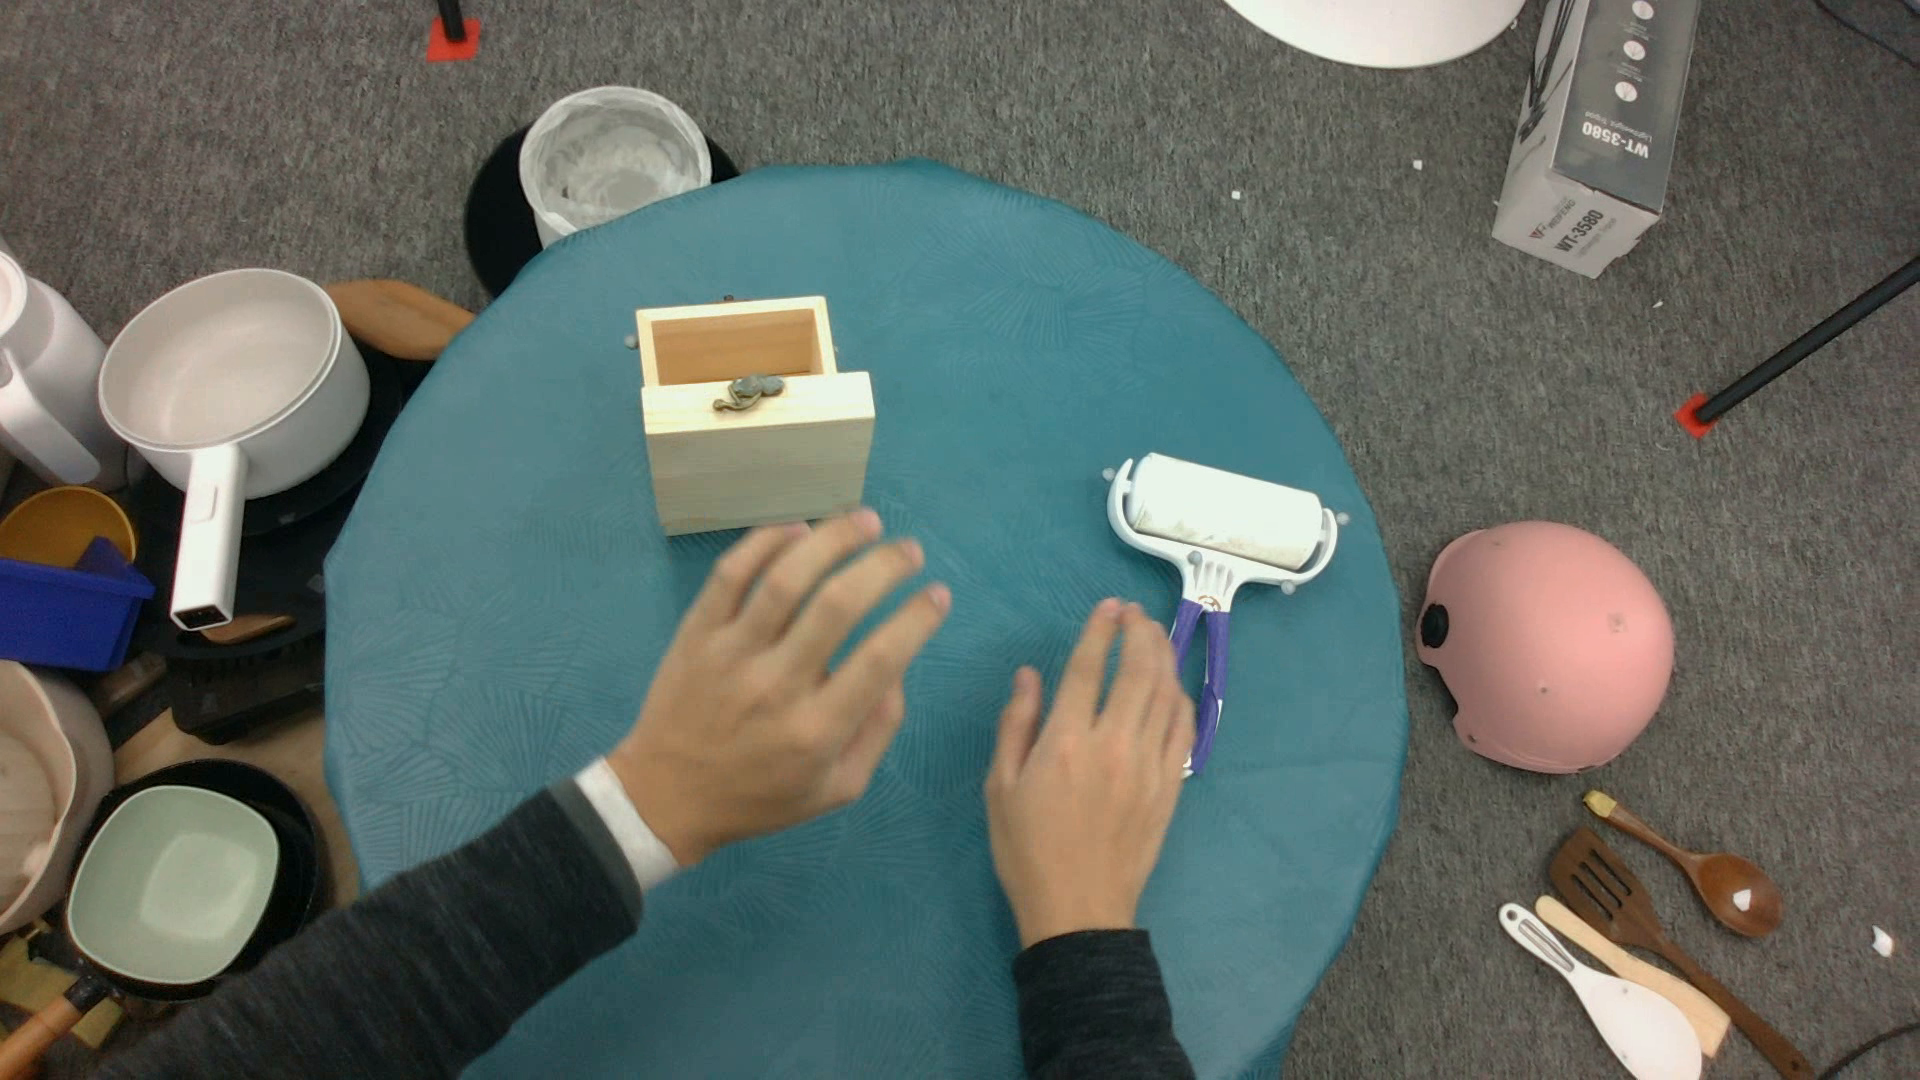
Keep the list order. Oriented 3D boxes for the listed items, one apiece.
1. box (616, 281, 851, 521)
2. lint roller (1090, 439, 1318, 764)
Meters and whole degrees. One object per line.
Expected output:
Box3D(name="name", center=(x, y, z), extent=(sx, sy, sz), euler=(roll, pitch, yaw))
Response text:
Box3D(name="box", center=(-0.121, -0.084, 0.703), extent=(0.103, 0.184, 0.134), euler=(-7, 72, -12))
Box3D(name="lint roller", center=(0.128, 0.034, 0.773), extent=(0.133, 0.050, 0.181), euler=(15, 66, -4))
